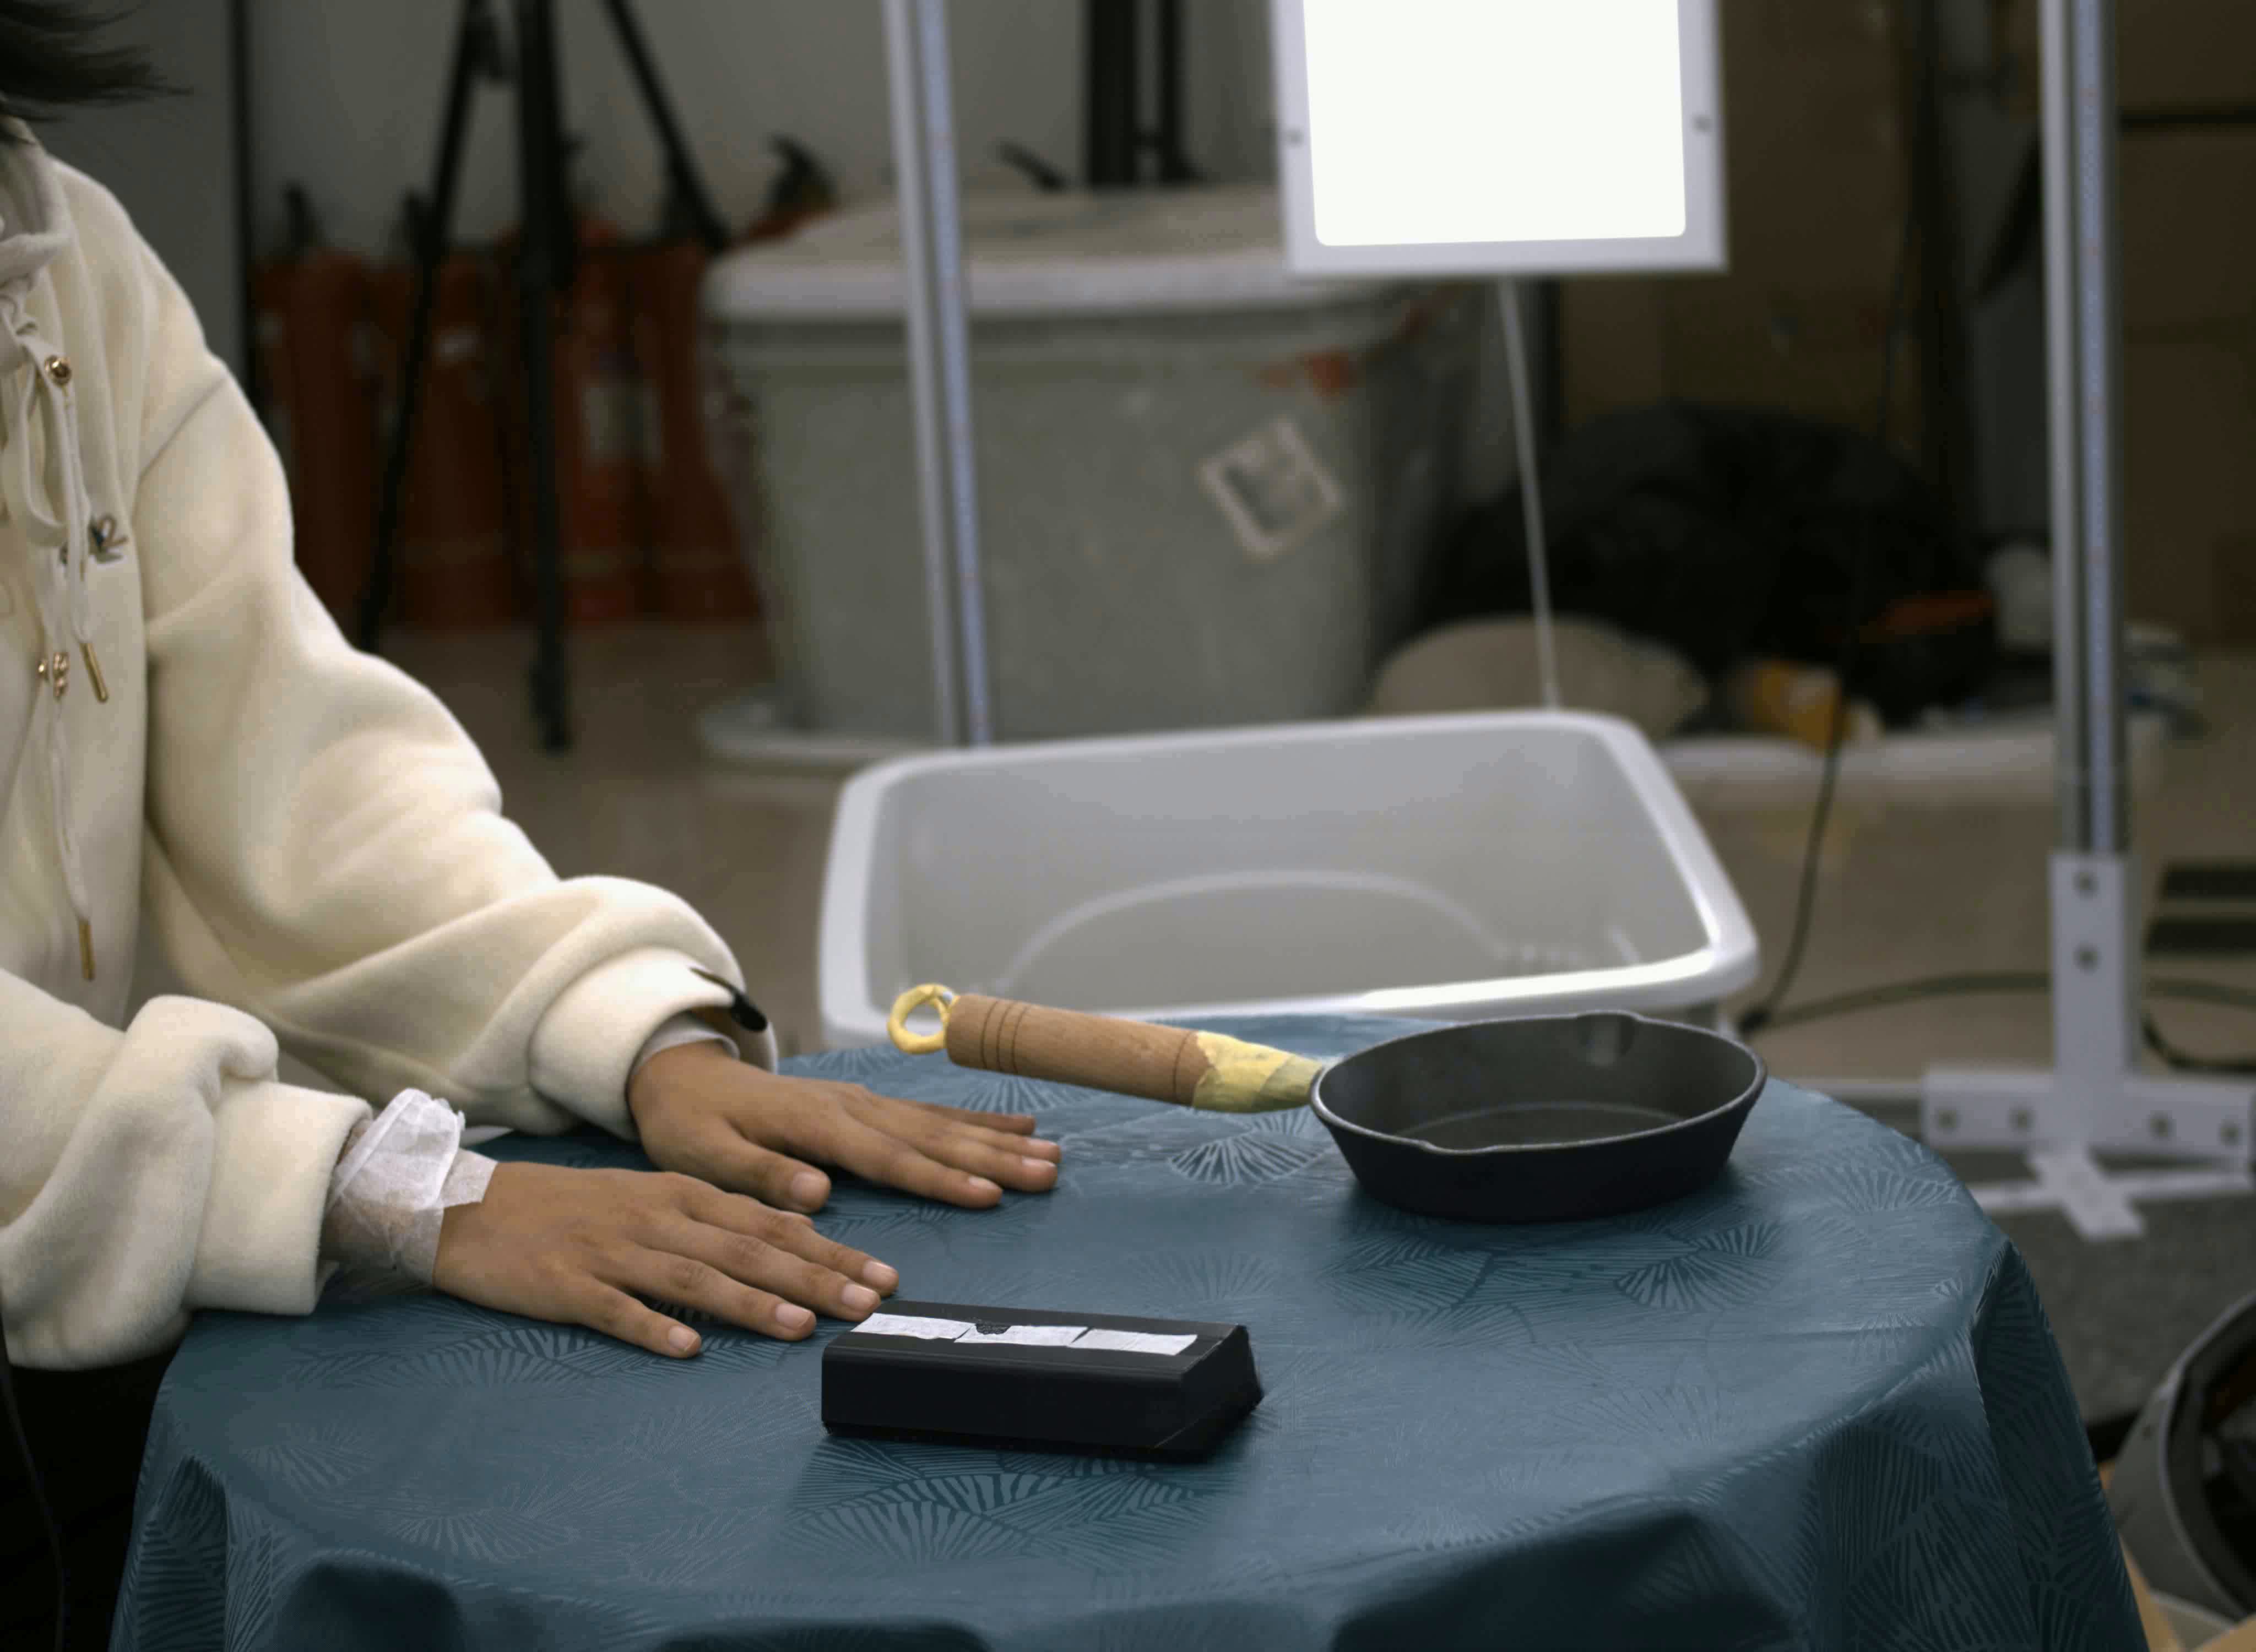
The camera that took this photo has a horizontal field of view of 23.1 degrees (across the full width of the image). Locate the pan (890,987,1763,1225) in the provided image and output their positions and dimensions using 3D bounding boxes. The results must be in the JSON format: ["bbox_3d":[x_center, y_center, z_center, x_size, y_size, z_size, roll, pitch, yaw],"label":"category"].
[{"bbox_3d":[0.064,0.090,1.917,0.330,0.050,0.165,3,17,28],"label":"pan"}]

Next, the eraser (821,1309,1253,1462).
[{"bbox_3d":[-0.026,0.169,1.677,0.127,0.030,0.052,1,14,27],"label":"eraser"}]
